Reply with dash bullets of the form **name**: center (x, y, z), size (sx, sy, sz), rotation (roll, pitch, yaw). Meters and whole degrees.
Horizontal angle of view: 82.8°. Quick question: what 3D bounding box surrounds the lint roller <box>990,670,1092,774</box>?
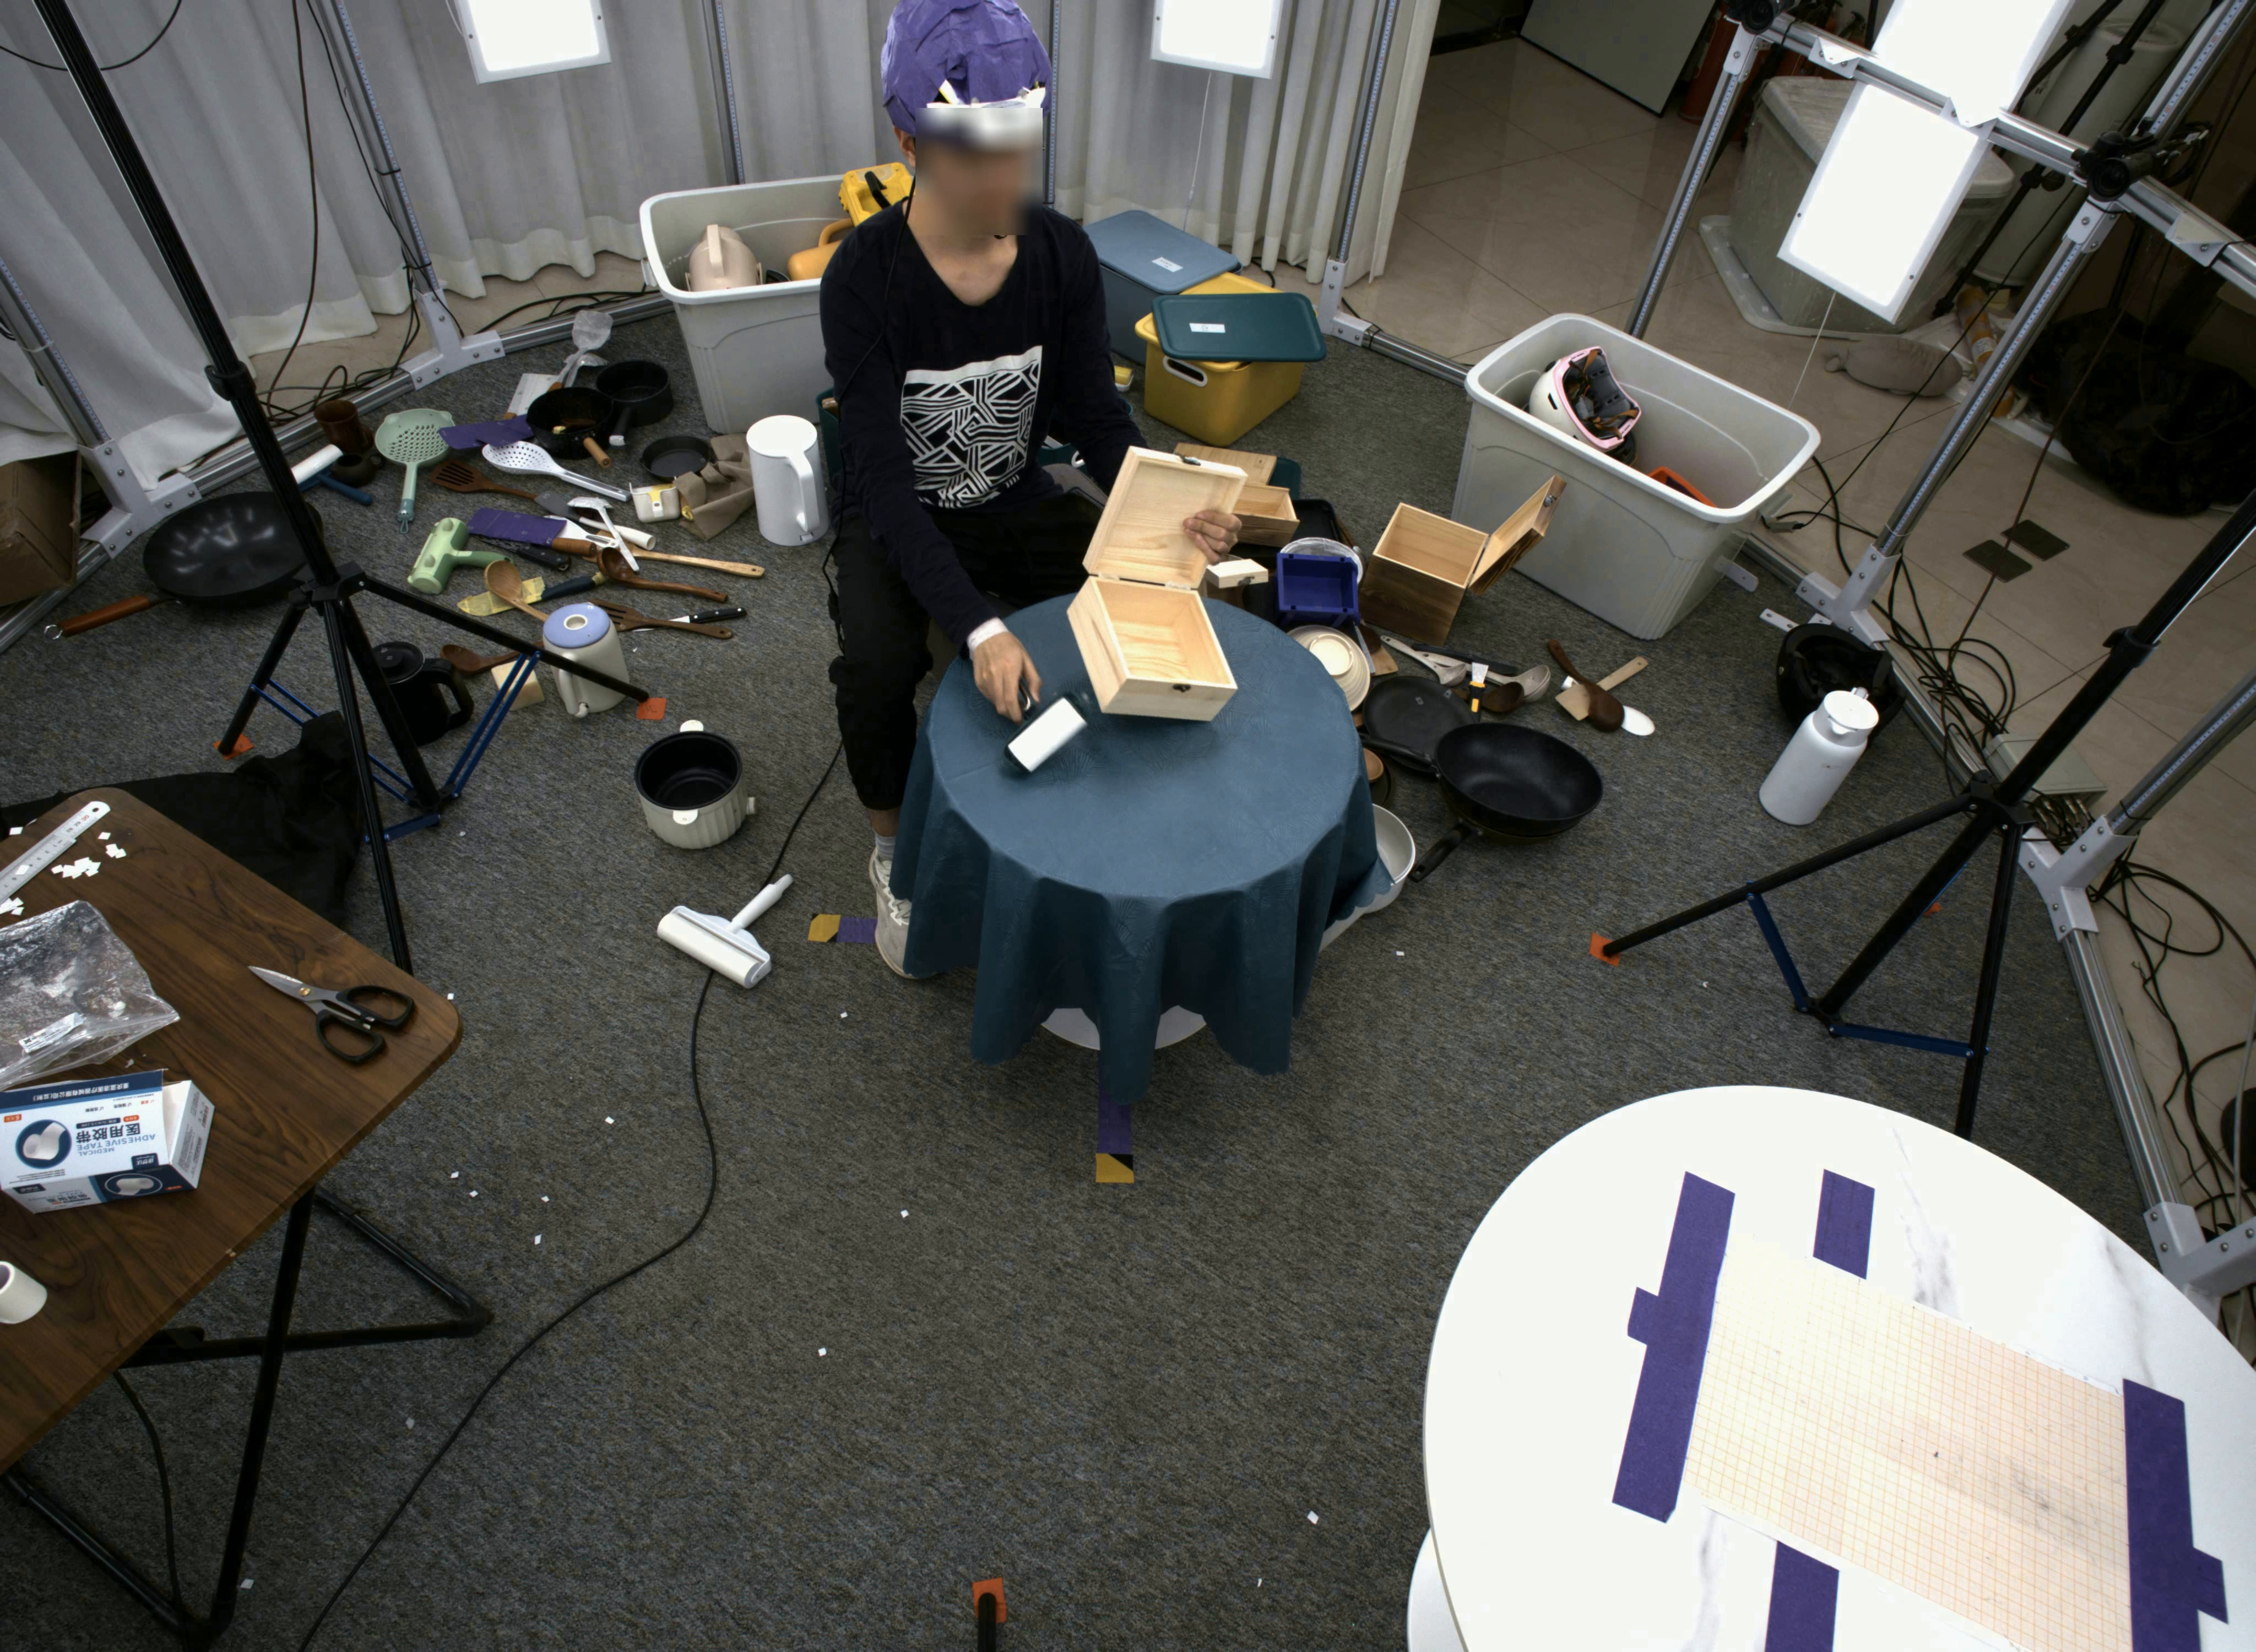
- **lint roller**: center (-0.143, -0.164, 1.743), size (0.134, 0.047, 0.183), rotation (-38, 59, -3)

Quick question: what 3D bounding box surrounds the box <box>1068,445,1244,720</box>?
- **box**: center (0.061, -0.320, 1.736), size (0.181, 0.249, 0.271), rotation (0, 55, -31)
